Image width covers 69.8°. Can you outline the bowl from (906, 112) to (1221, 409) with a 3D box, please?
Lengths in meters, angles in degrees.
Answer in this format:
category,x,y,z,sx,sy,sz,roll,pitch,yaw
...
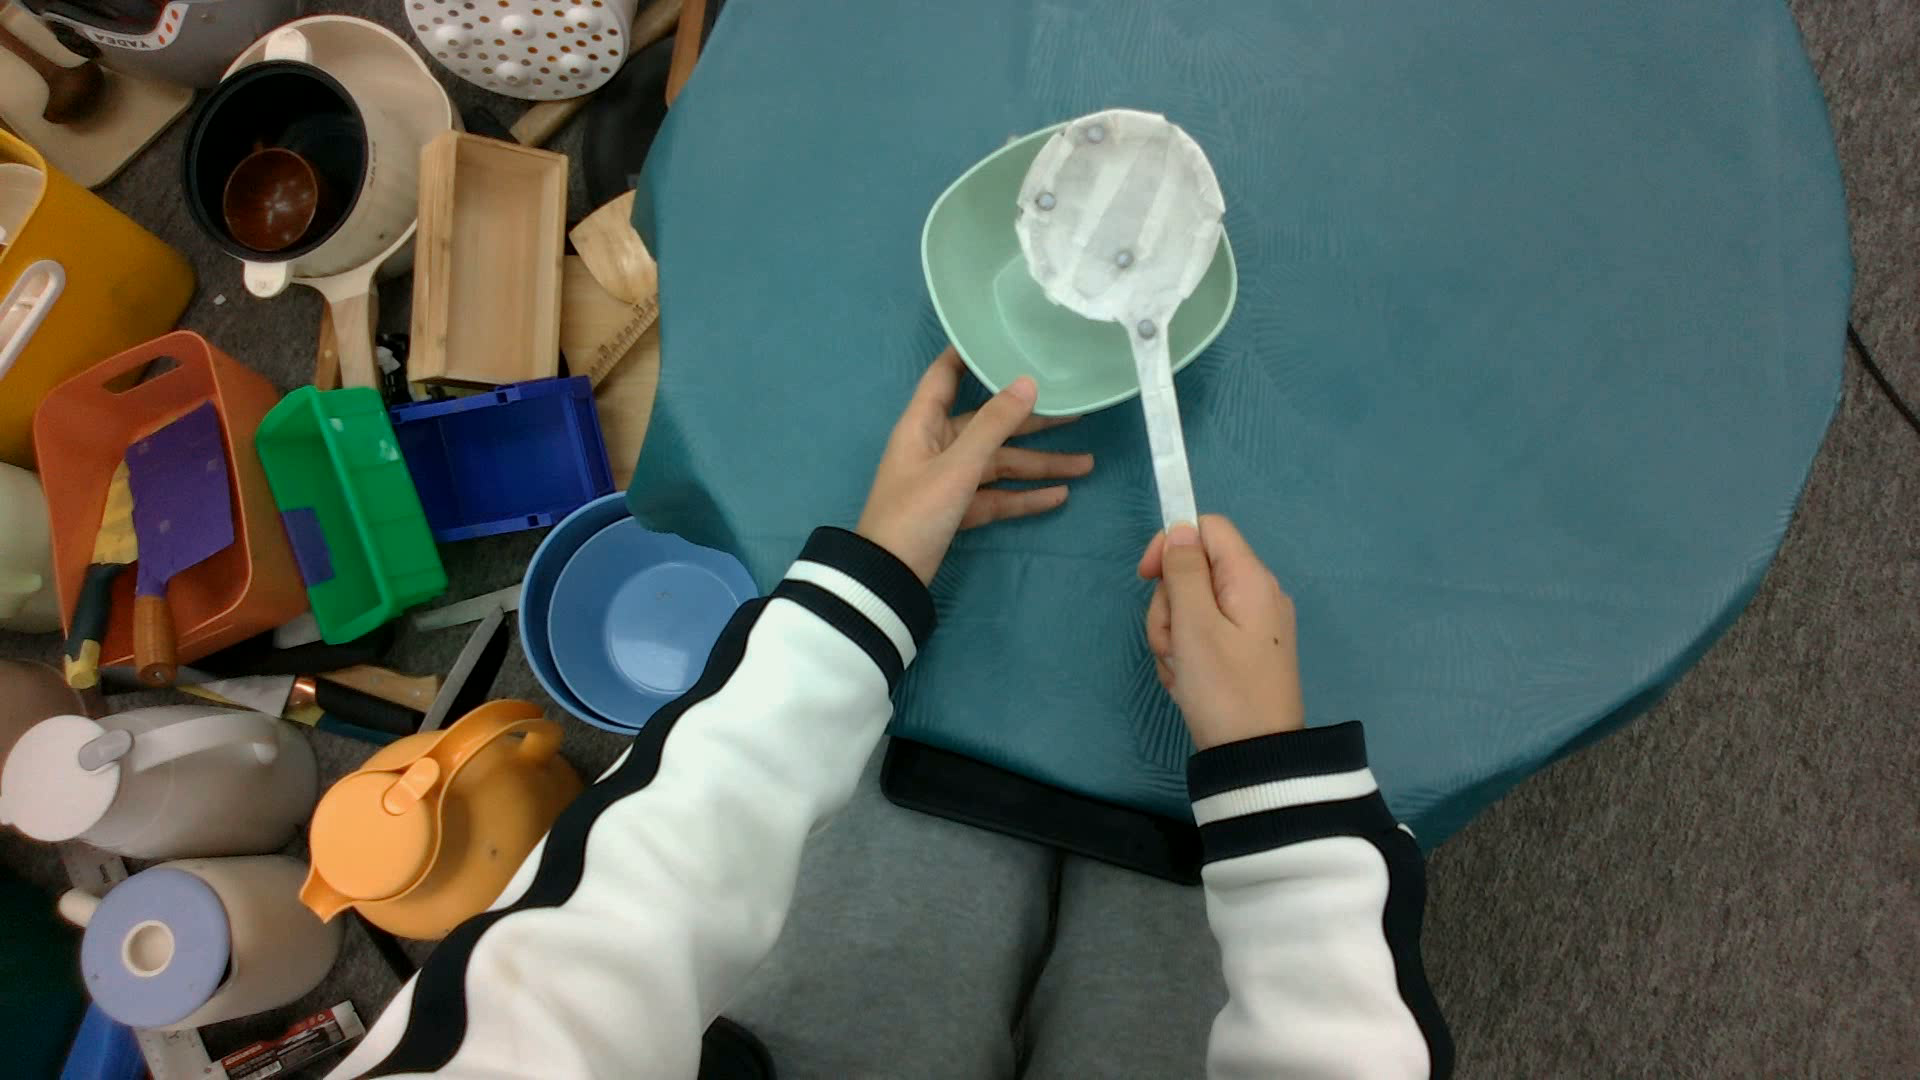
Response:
category,x,y,z,sx,sy,sz,roll,pitch,yaw
bowl,0.050,-0.128,0.674,0.151,0.058,0.151,-1,79,4

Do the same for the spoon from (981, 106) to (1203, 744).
category,x,y,z,sx,sy,sz,roll,pitch,yaw
spoon,0.068,-0.052,0.595,0.100,0.059,0.278,-11,72,15
